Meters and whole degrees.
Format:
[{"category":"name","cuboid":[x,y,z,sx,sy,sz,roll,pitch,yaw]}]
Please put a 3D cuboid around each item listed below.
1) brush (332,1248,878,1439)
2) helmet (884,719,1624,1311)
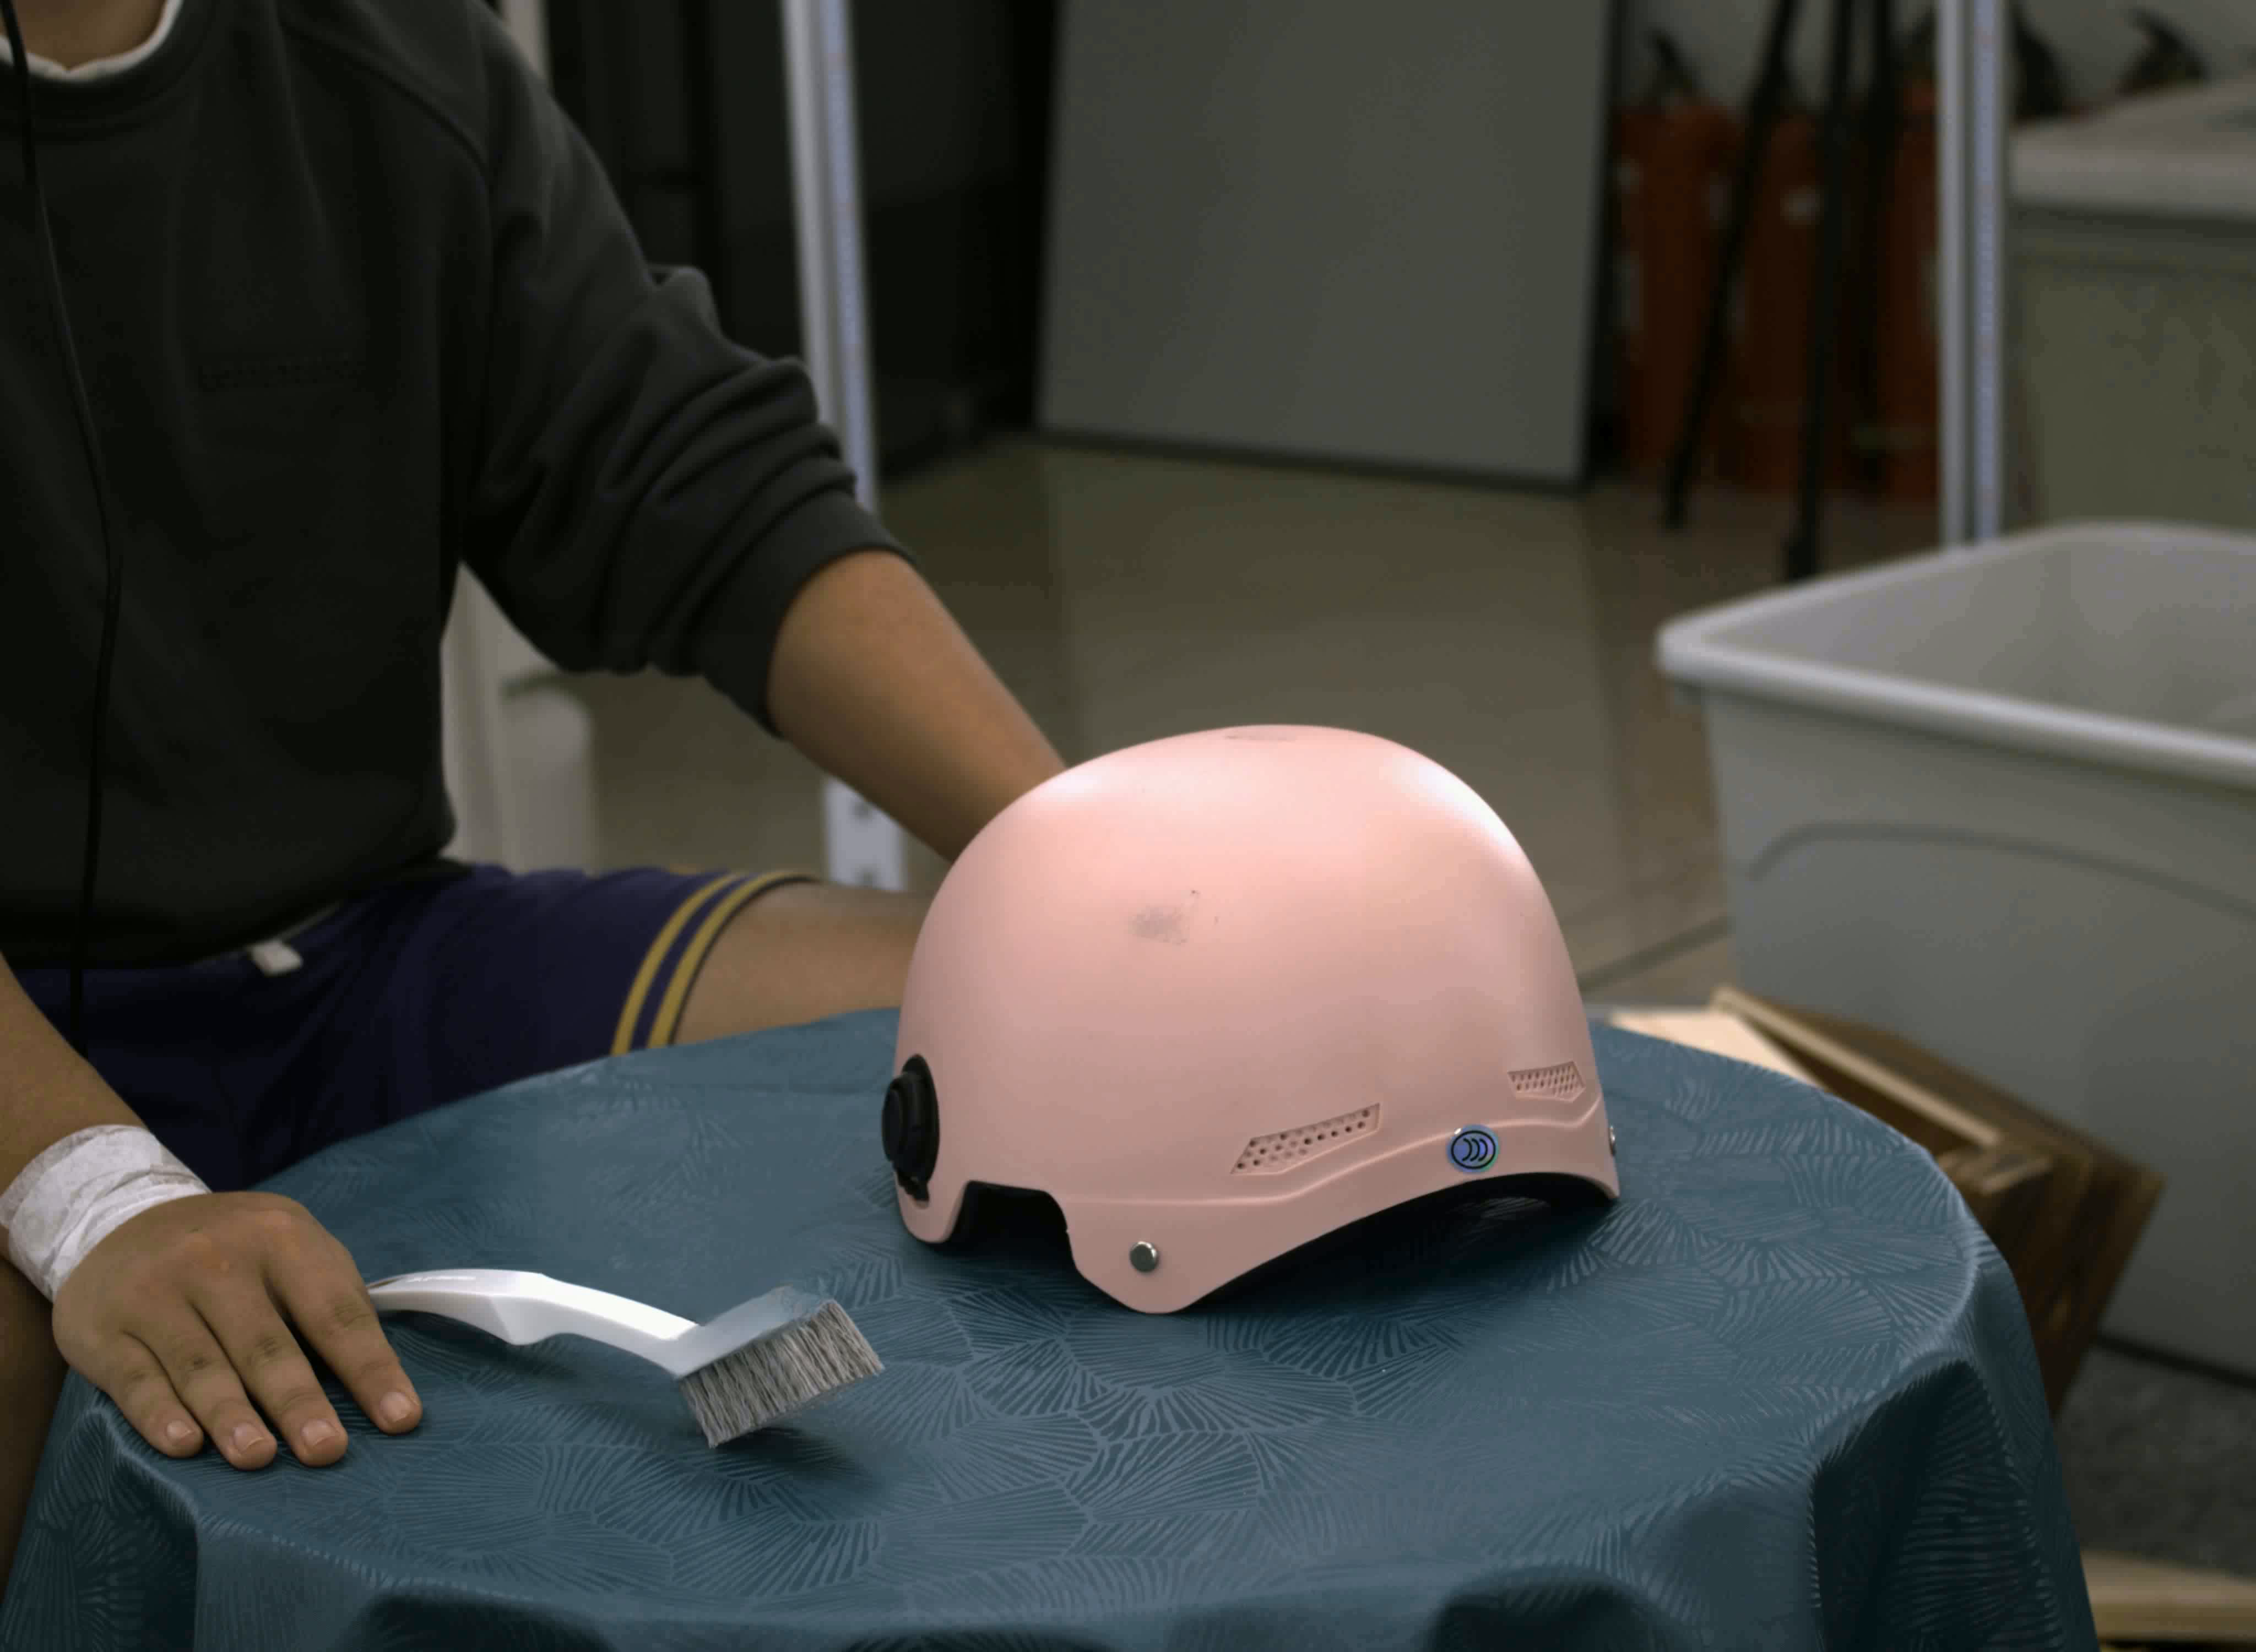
[{"category":"brush","cuboid":[-0.160,0.158,1.615,0.034,0.051,0.246,-20,7,-41]},{"category":"helmet","cuboid":[0.031,0.046,1.749,0.229,0.160,0.269,-12,11,-28]}]
